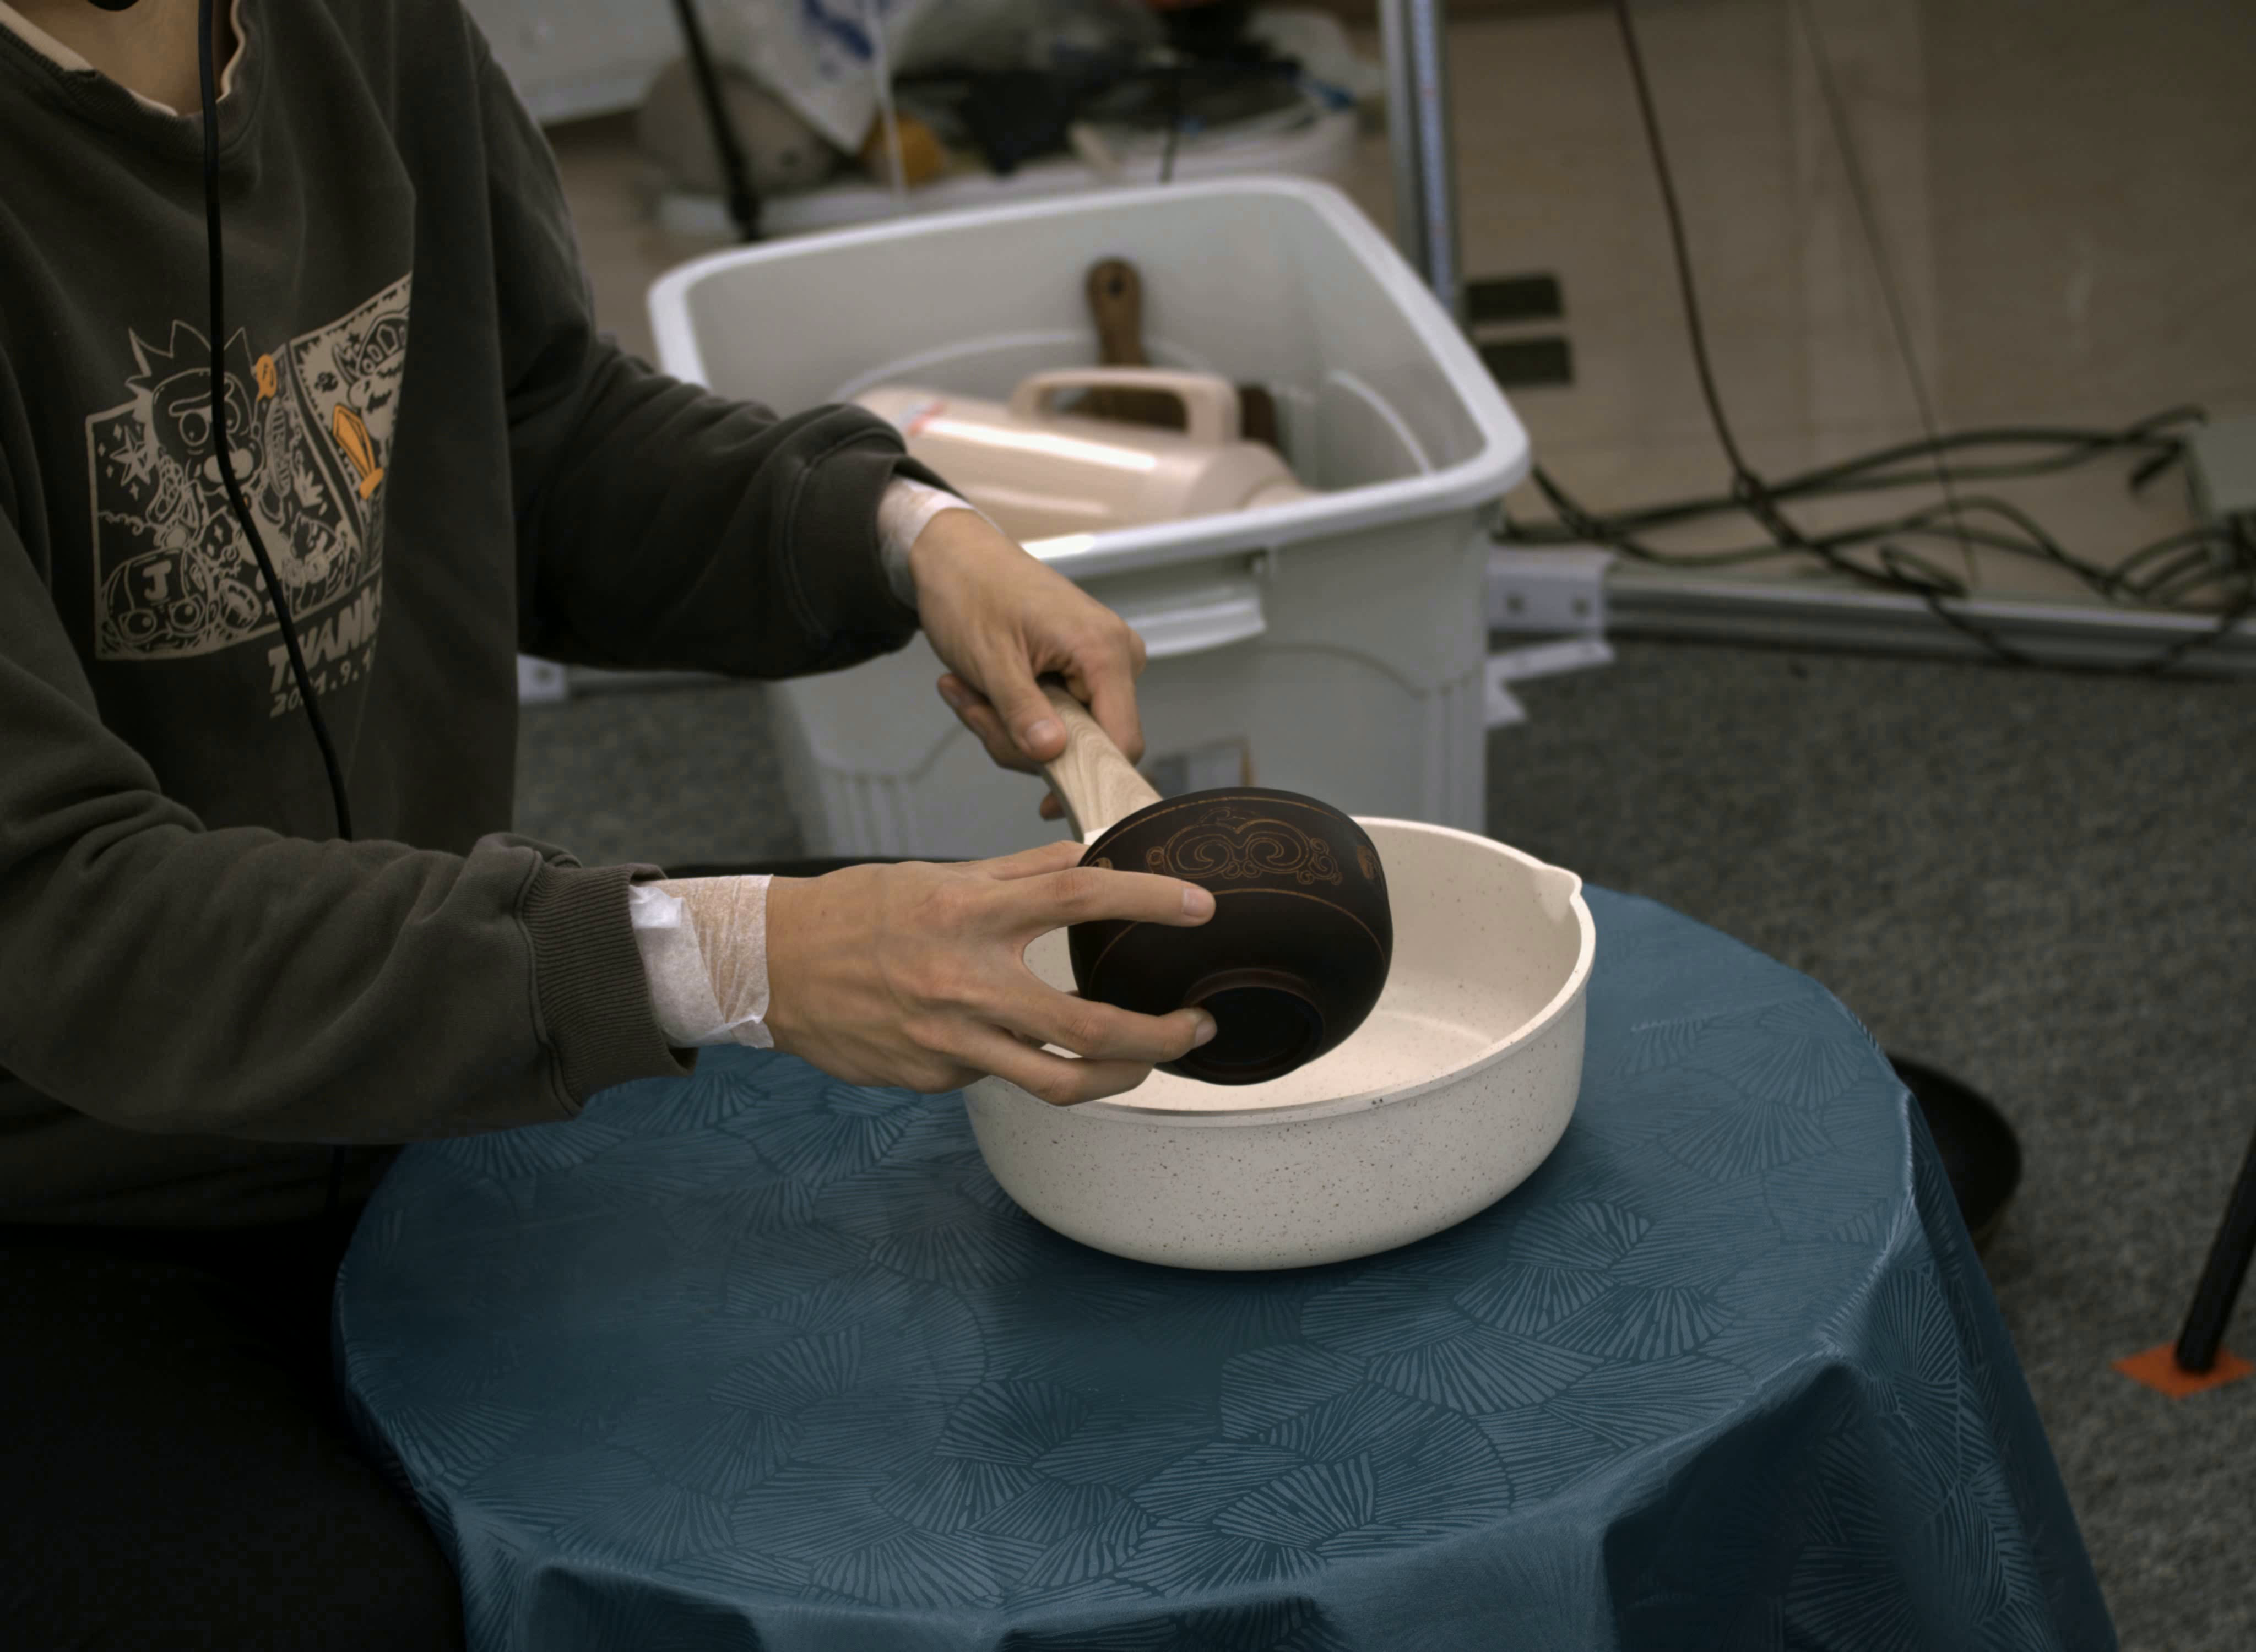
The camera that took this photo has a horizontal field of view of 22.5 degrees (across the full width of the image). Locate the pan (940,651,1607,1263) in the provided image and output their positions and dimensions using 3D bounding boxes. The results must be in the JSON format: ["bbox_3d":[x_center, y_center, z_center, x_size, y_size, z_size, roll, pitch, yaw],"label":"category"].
[{"bbox_3d":[0.026,0.045,2.224,0.262,0.103,0.429,-16,26,-16],"label":"pan"}]

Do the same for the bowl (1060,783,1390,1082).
[{"bbox_3d":[0.036,0.047,2.017,0.118,0.120,0.068,-7,52,-2],"label":"bowl"}]
